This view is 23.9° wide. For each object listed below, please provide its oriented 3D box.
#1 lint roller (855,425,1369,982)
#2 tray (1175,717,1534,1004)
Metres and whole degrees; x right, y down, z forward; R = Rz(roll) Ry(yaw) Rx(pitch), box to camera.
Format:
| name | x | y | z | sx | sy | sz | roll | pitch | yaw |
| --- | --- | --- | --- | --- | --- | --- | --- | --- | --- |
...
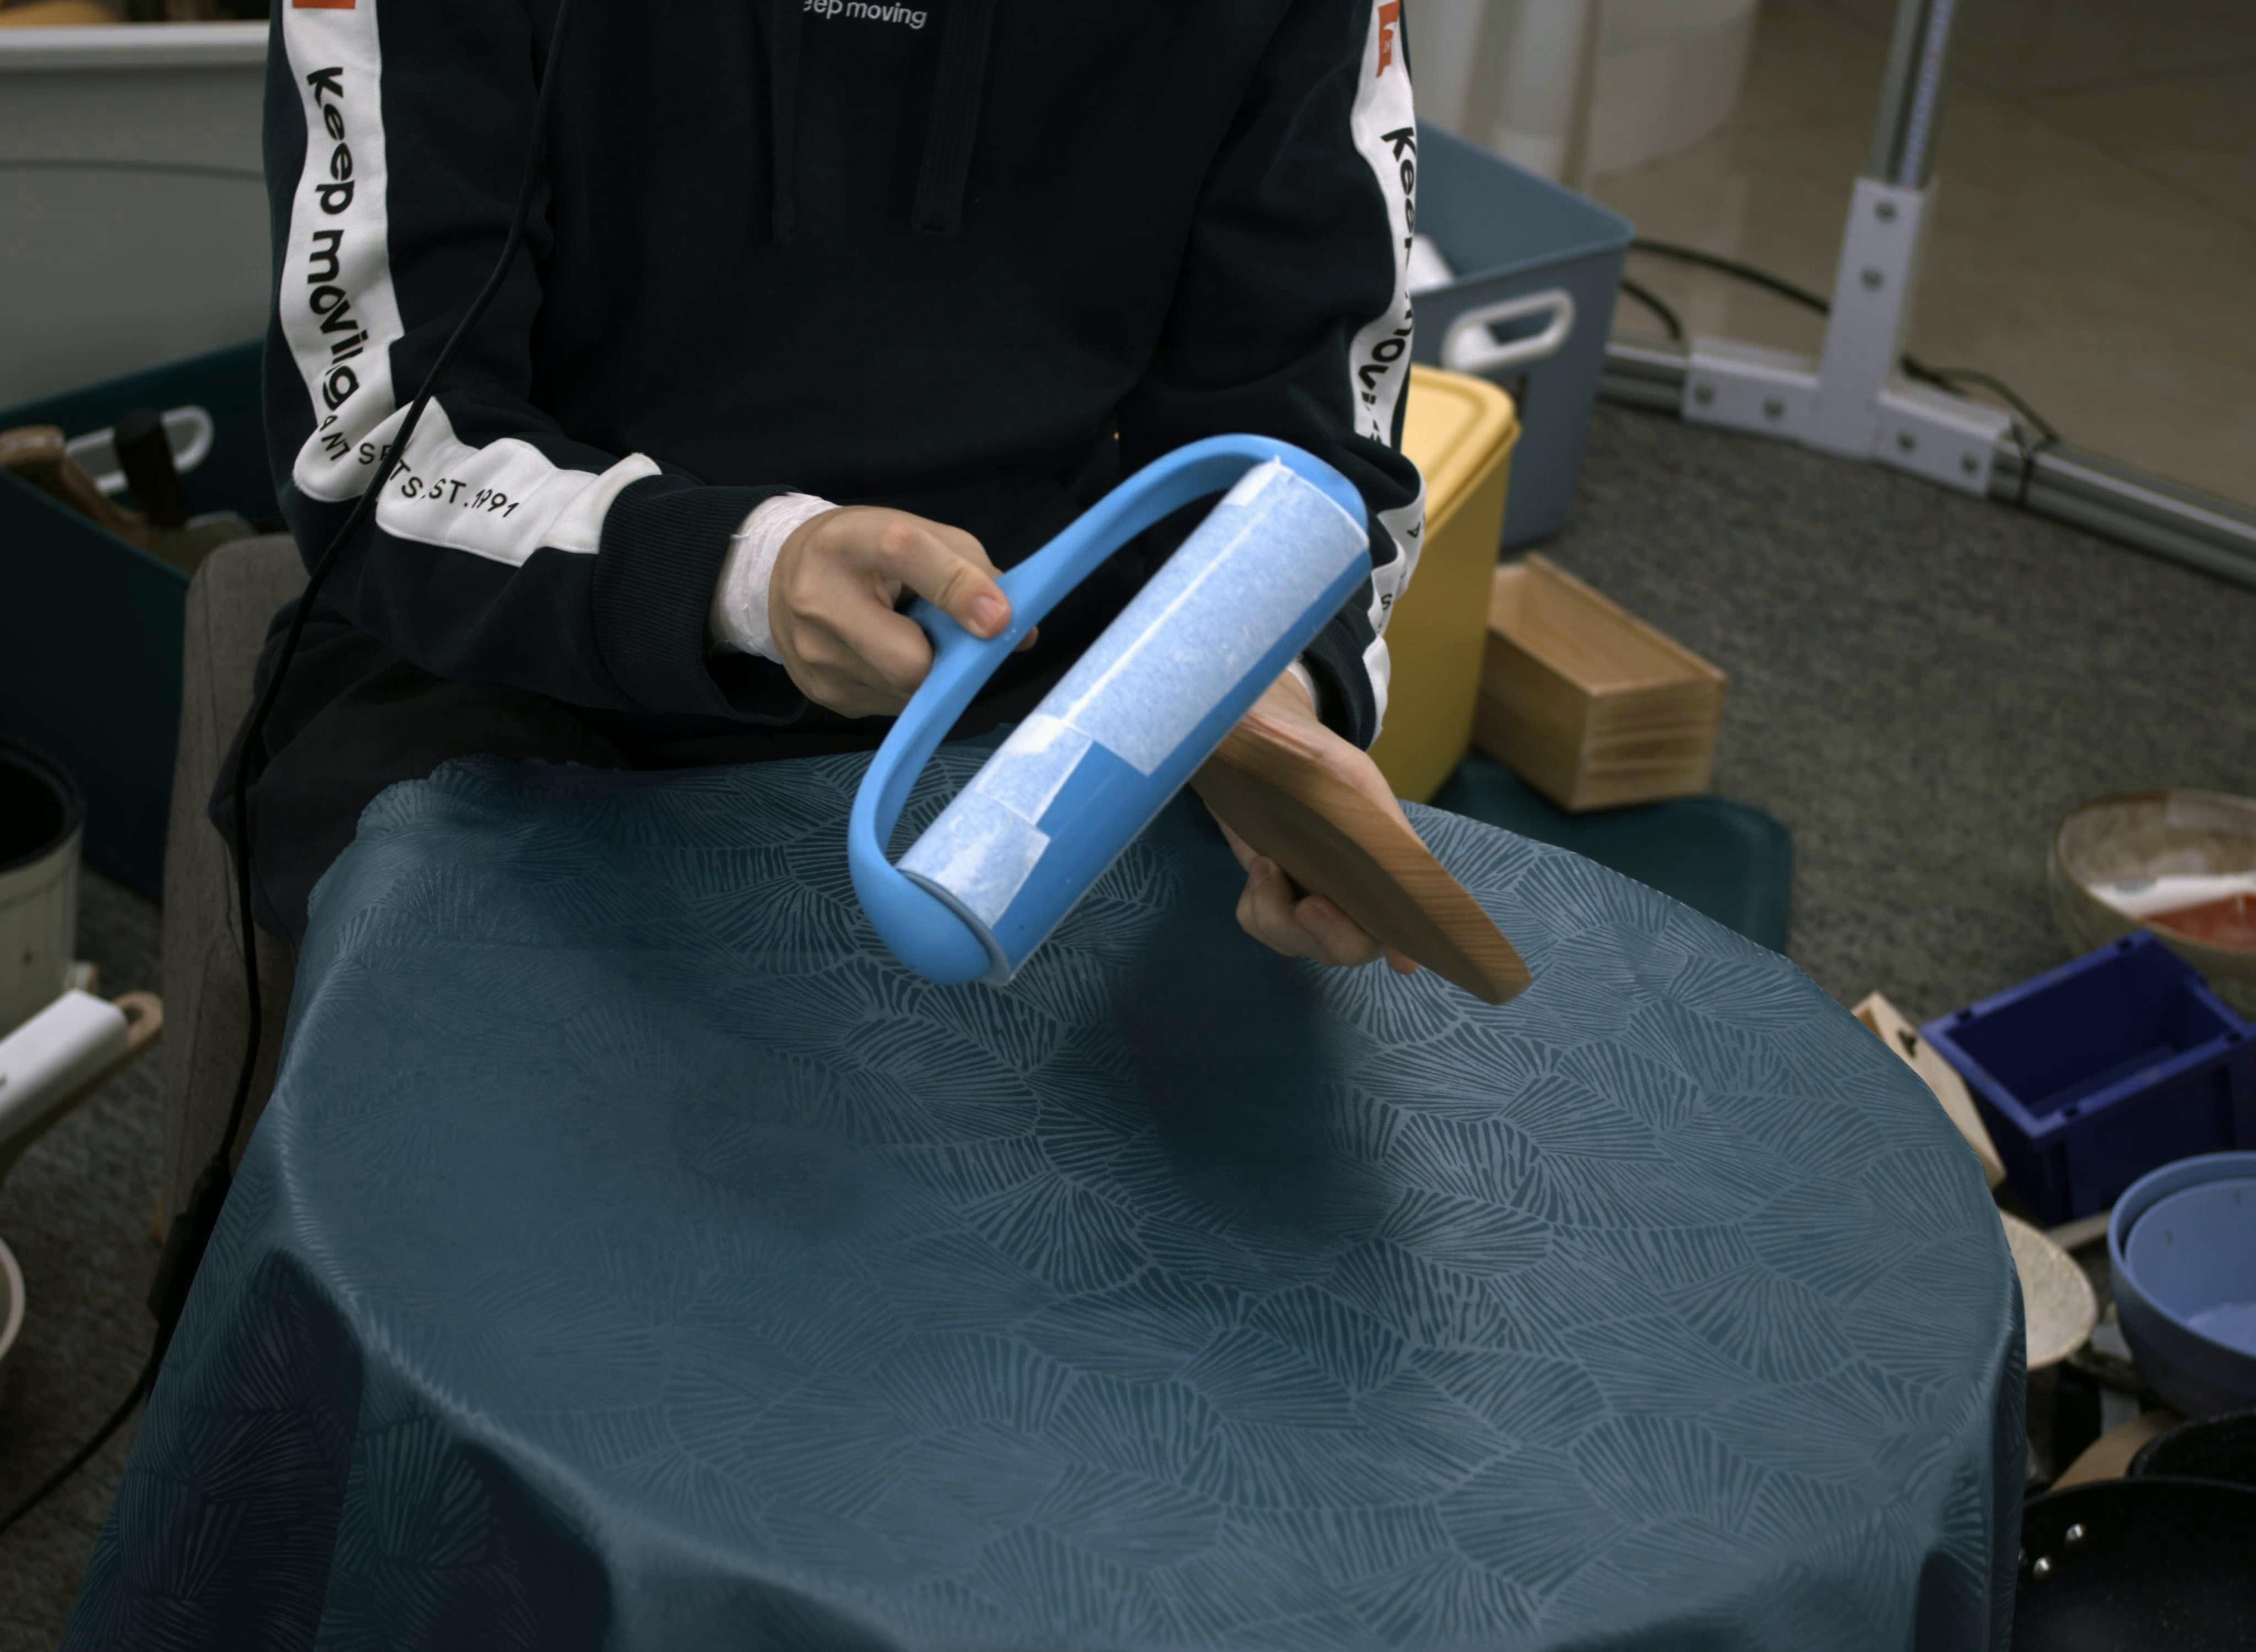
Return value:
| name | x | y | z | sx | sy | sz | roll | pitch | yaw |
| --- | --- | --- | --- | --- | --- | --- | --- | --- | --- |
| lint roller | -0.039 | -0.051 | 1.796 | 0.181 | 0.067 | 0.229 | 16 | 60 | 44 |
| tray | 0.069 | 0.007 | 1.832 | 0.020 | 0.101 | 0.233 | -44 | 25 | -8 |
